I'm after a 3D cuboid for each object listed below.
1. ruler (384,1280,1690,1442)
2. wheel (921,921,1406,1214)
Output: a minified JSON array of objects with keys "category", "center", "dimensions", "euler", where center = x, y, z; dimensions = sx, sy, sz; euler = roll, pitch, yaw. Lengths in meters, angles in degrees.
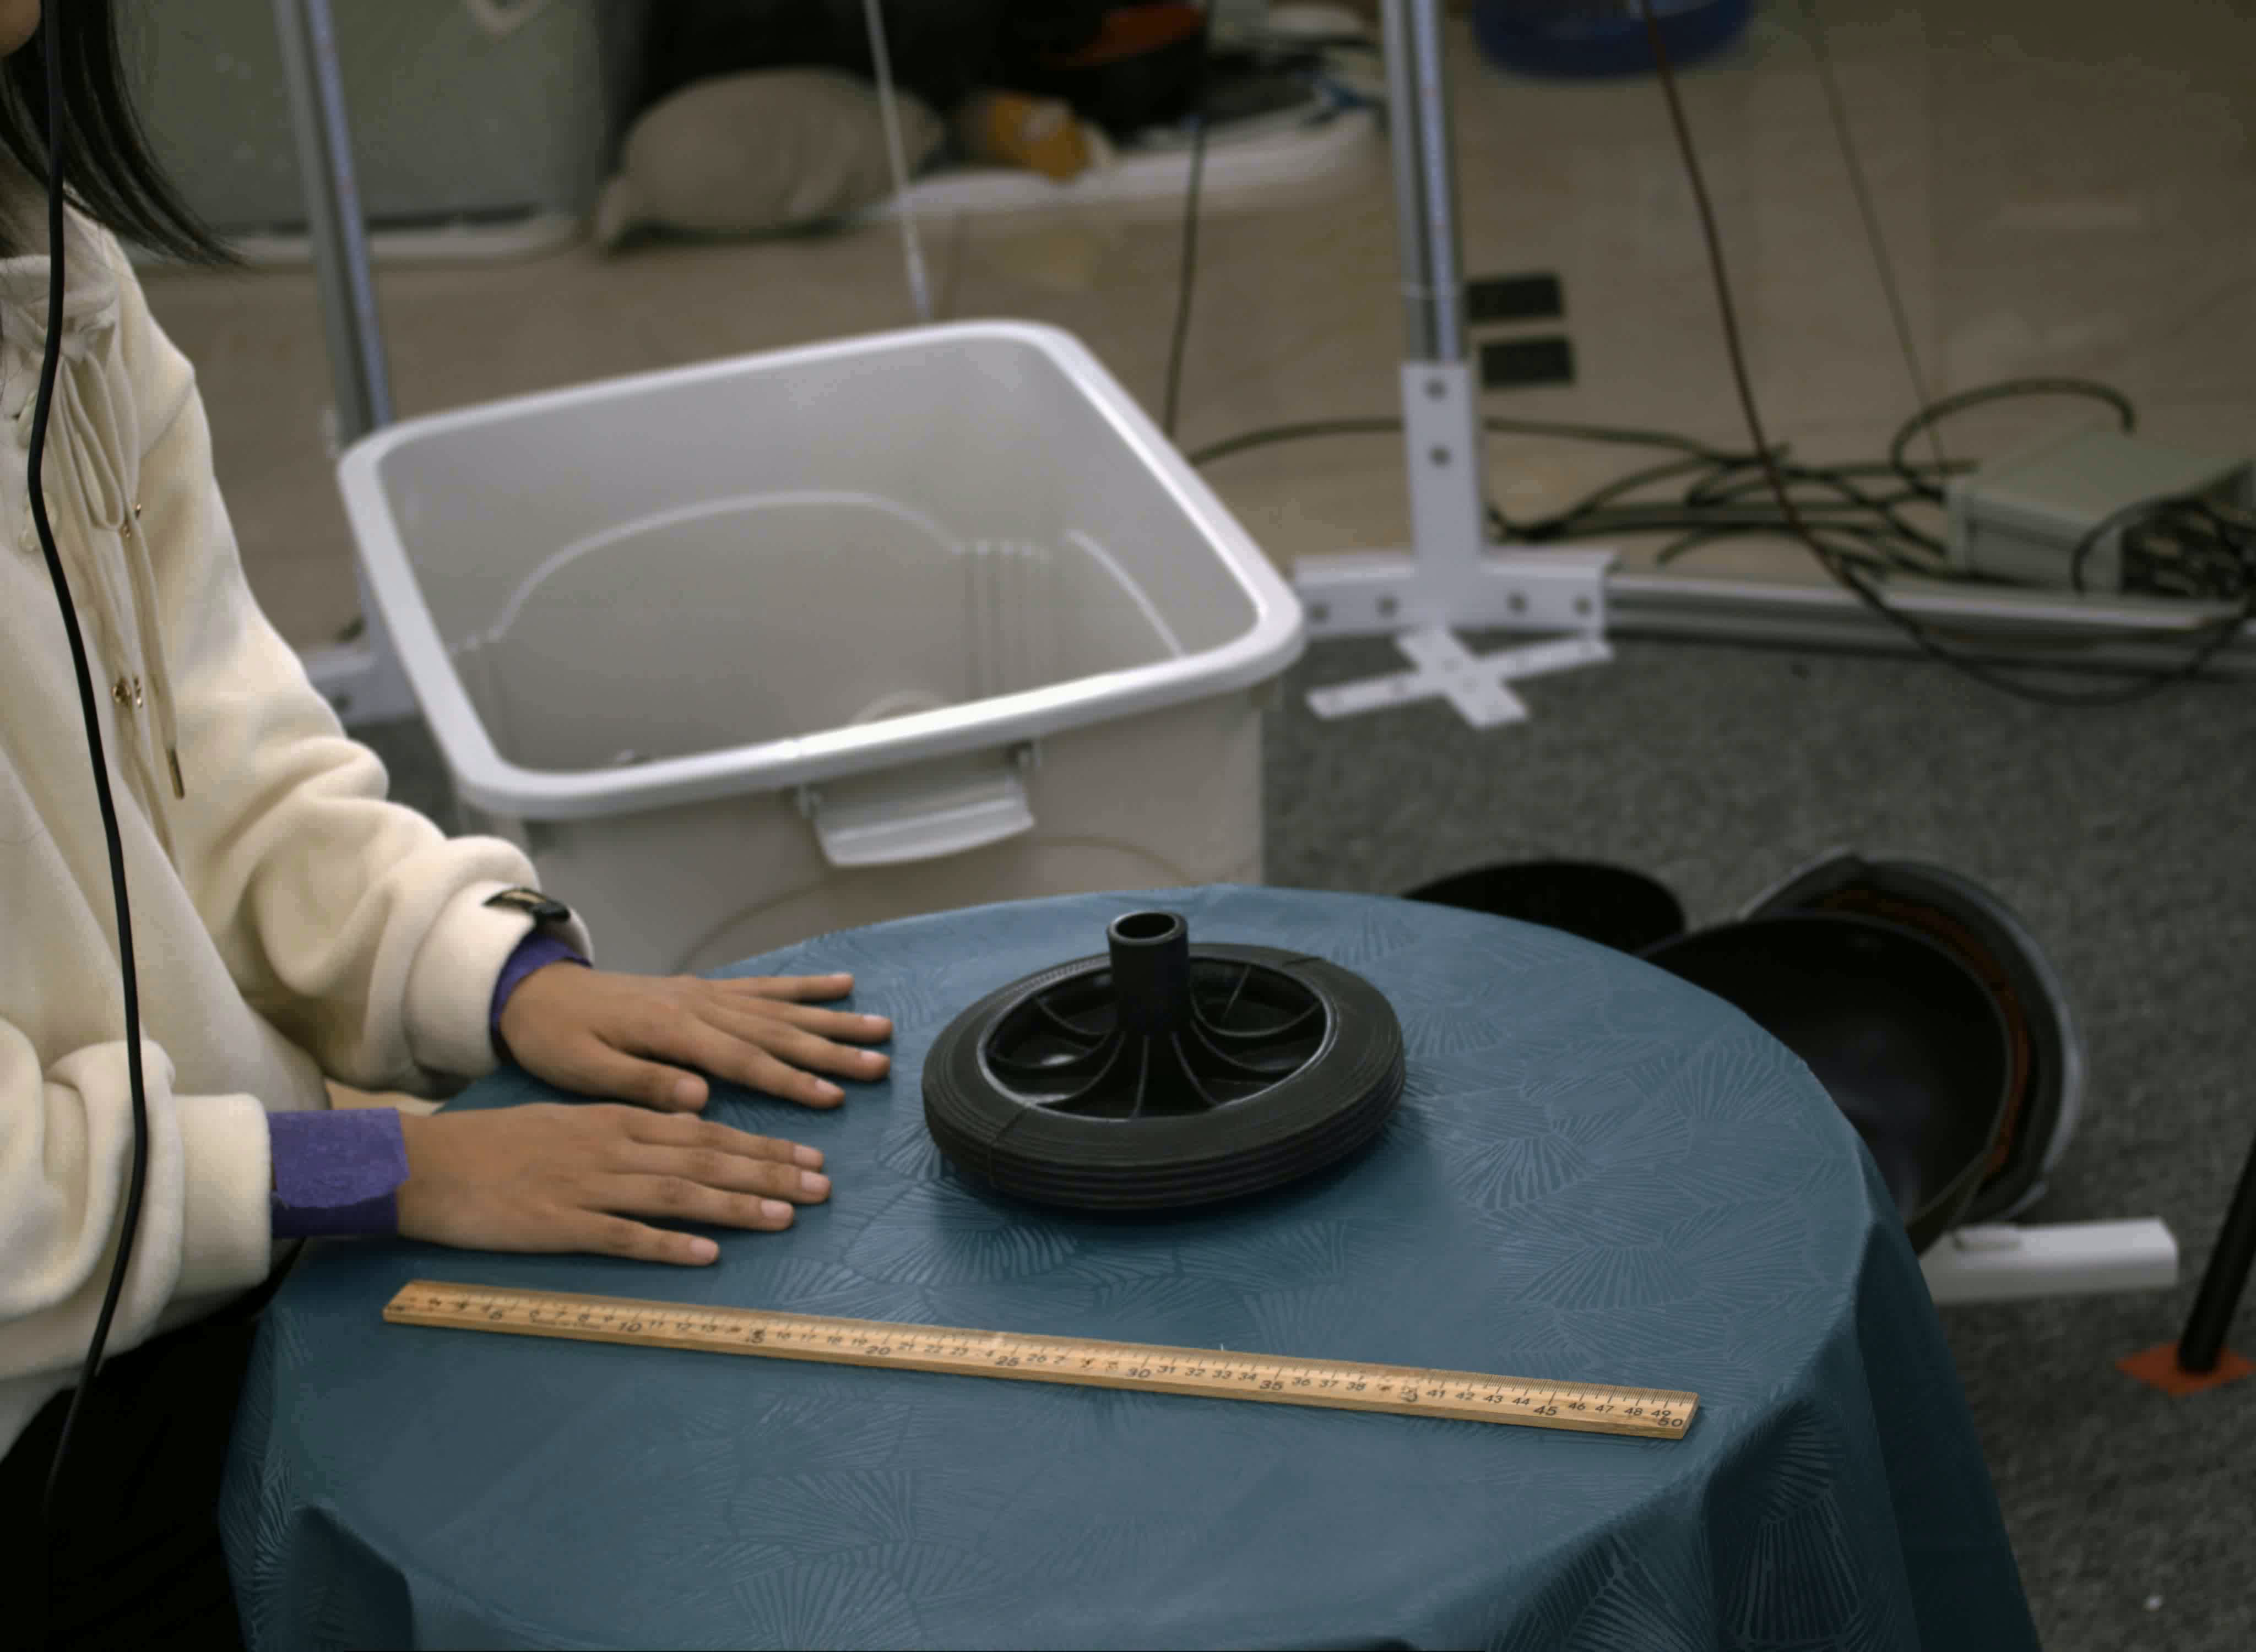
[{"category":"ruler","center":[-0.042,0.191,2.041],"dimensions":[0.499,0.006,0.026],"euler":[3,27,20]},{"category":"wheel","center":[0.012,0.078,2.184],"dimensions":[0.187,0.080,0.187],"euler":[-9,25,-6]}]
